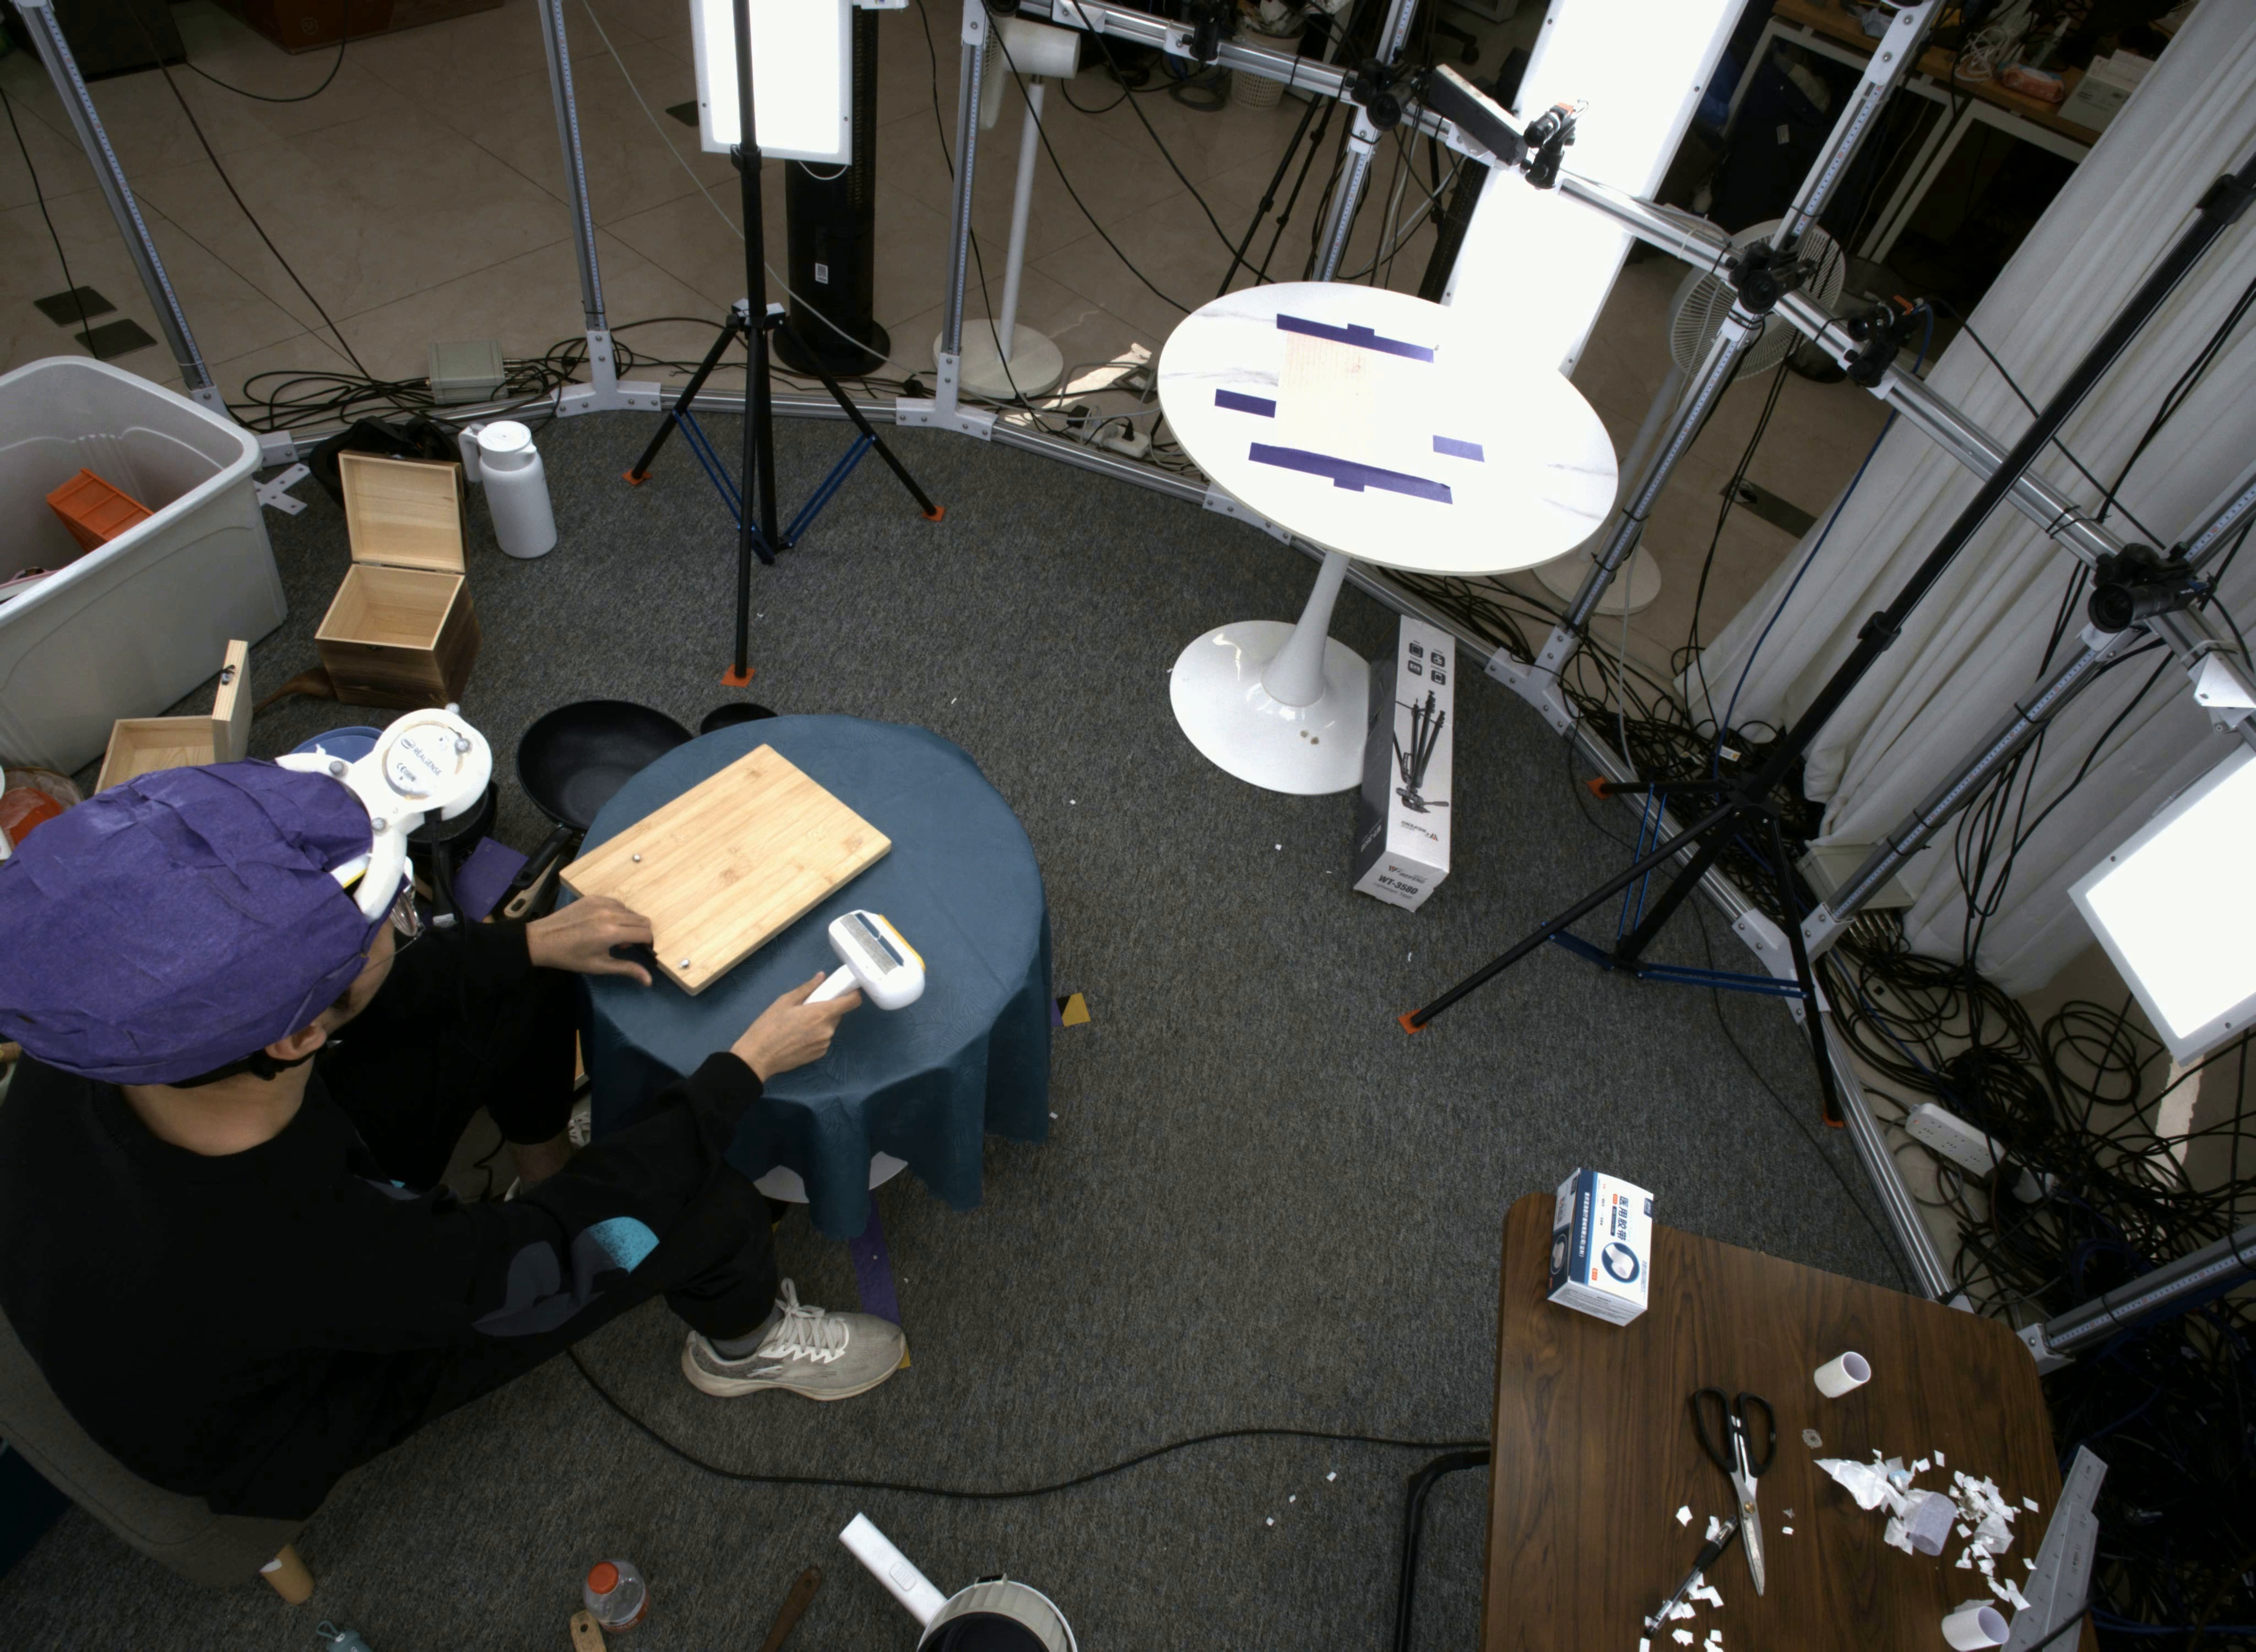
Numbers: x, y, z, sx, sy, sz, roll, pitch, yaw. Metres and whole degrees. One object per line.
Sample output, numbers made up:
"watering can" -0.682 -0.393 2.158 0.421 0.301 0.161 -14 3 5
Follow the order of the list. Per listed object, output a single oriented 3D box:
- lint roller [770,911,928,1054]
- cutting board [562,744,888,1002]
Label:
"lint roller" -0.340 0.190 1.518 0.192 0.077 0.185 -30 37 -15
"cutting board" -0.508 0.046 1.642 0.246 0.024 0.349 36 48 13
